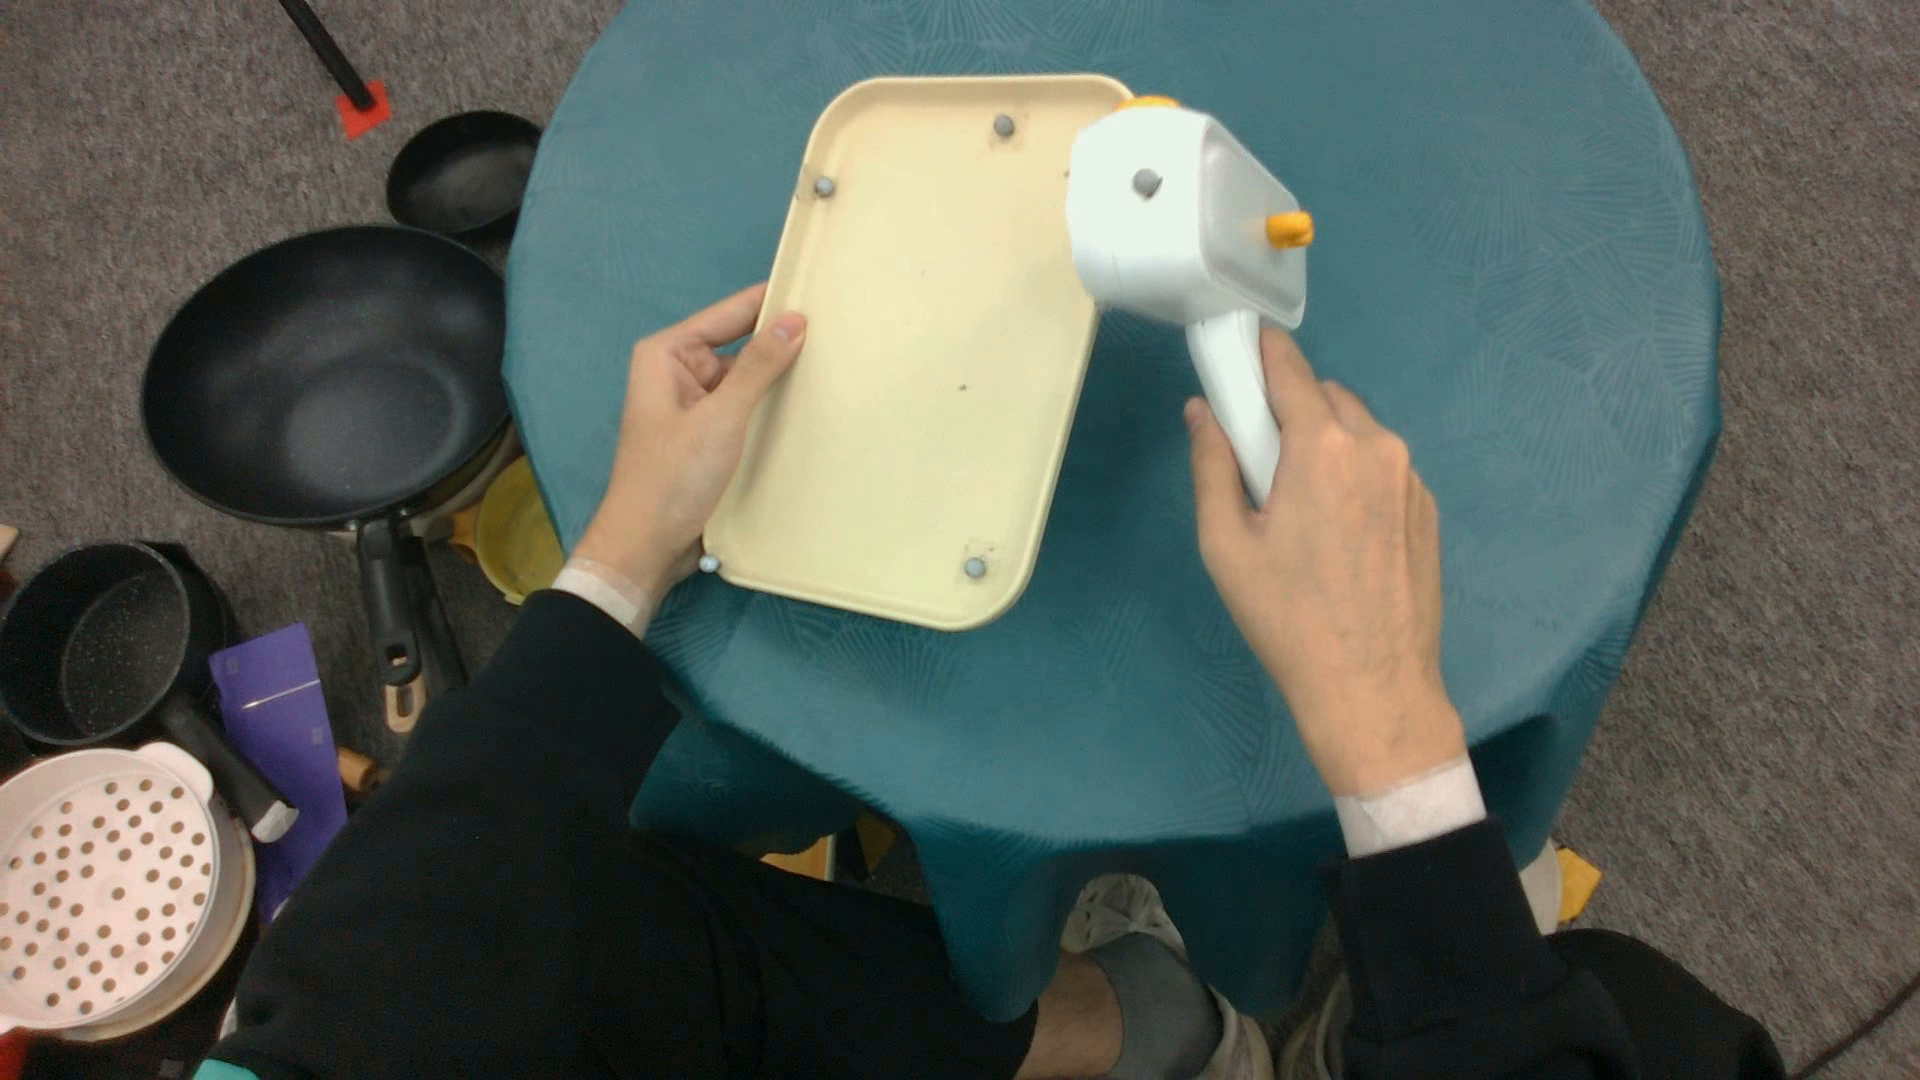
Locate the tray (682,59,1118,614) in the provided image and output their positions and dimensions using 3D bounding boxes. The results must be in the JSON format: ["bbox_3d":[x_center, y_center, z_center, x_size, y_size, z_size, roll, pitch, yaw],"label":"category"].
[{"bbox_3d":[-0.027,-0.092,0.590,0.171,0.017,0.240,10,81,31],"label":"tray"}]

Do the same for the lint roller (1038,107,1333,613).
[{"bbox_3d":[0.100,-0.063,0.539,0.074,0.193,0.192,-10,92,21],"label":"lint roller"}]
